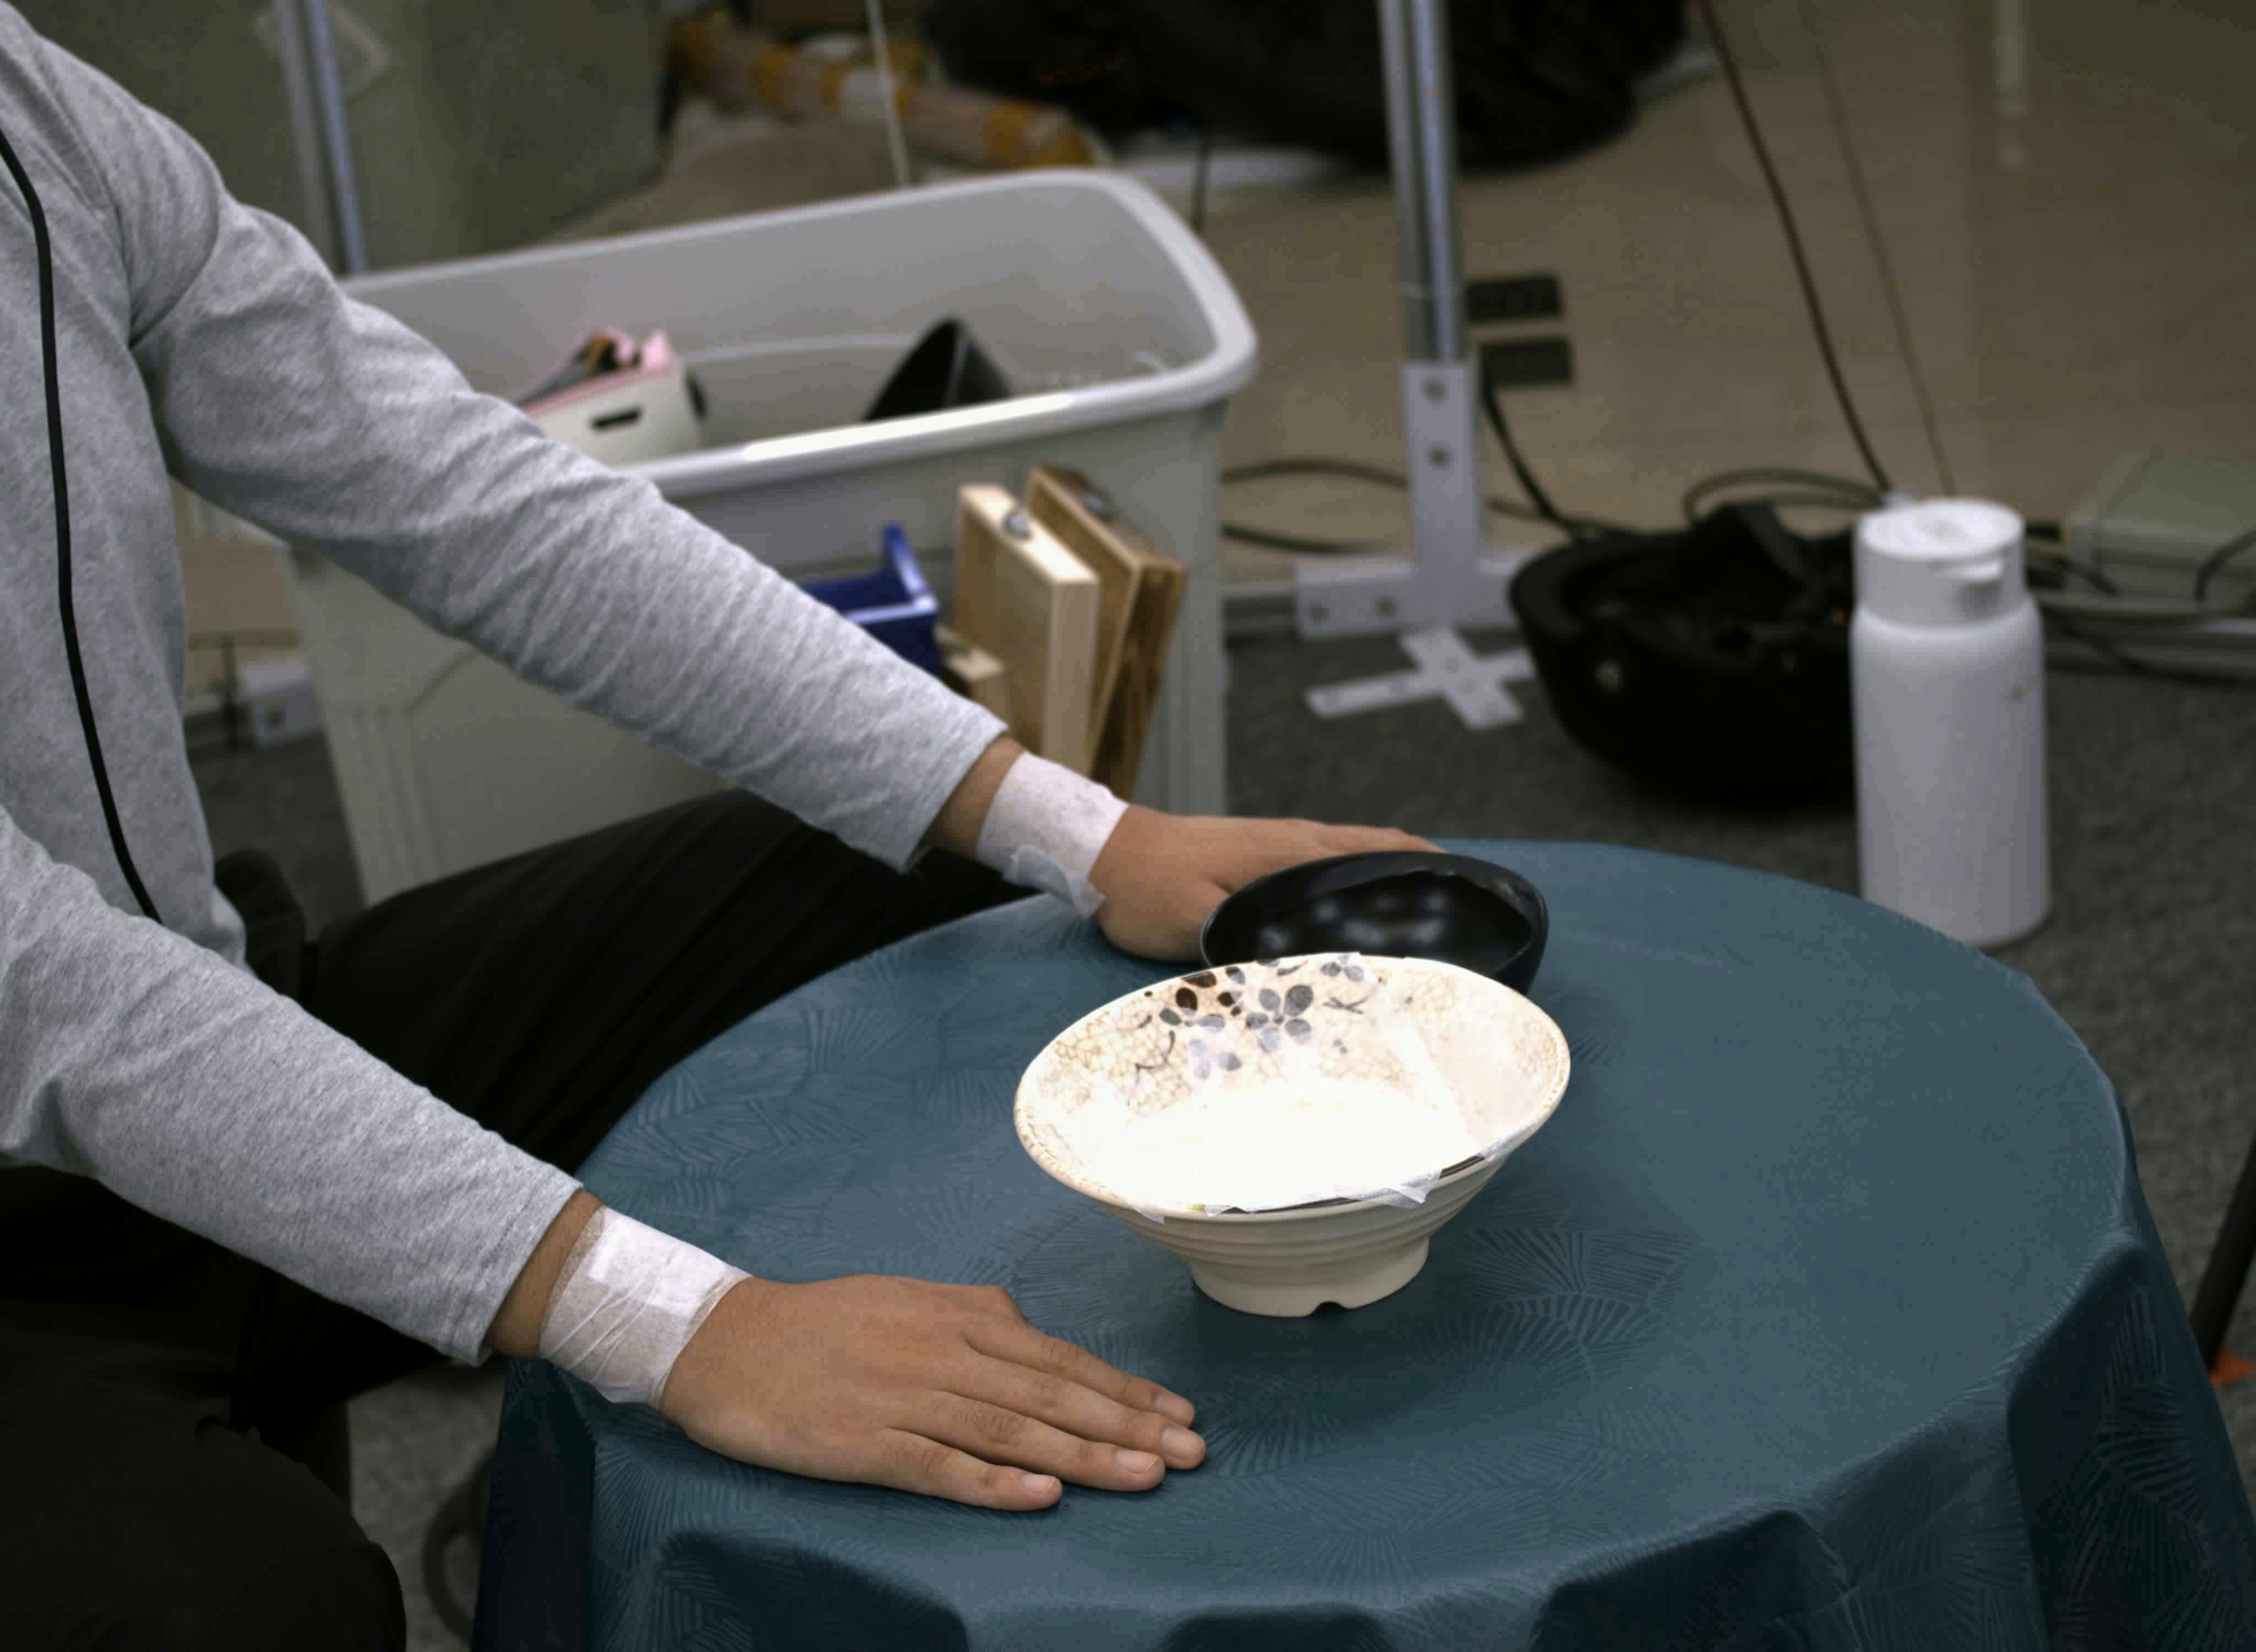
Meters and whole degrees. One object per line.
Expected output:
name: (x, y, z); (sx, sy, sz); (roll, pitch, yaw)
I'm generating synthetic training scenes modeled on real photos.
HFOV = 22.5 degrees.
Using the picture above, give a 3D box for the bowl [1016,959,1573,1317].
bowl: (0.064, 0.125, 2.072); (0.203, 0.079, 0.201); (-6, 24, 3)

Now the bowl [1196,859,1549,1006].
bowl: (0.099, 0.062, 2.238); (0.140, 0.050, 0.138); (-8, 22, 3)
